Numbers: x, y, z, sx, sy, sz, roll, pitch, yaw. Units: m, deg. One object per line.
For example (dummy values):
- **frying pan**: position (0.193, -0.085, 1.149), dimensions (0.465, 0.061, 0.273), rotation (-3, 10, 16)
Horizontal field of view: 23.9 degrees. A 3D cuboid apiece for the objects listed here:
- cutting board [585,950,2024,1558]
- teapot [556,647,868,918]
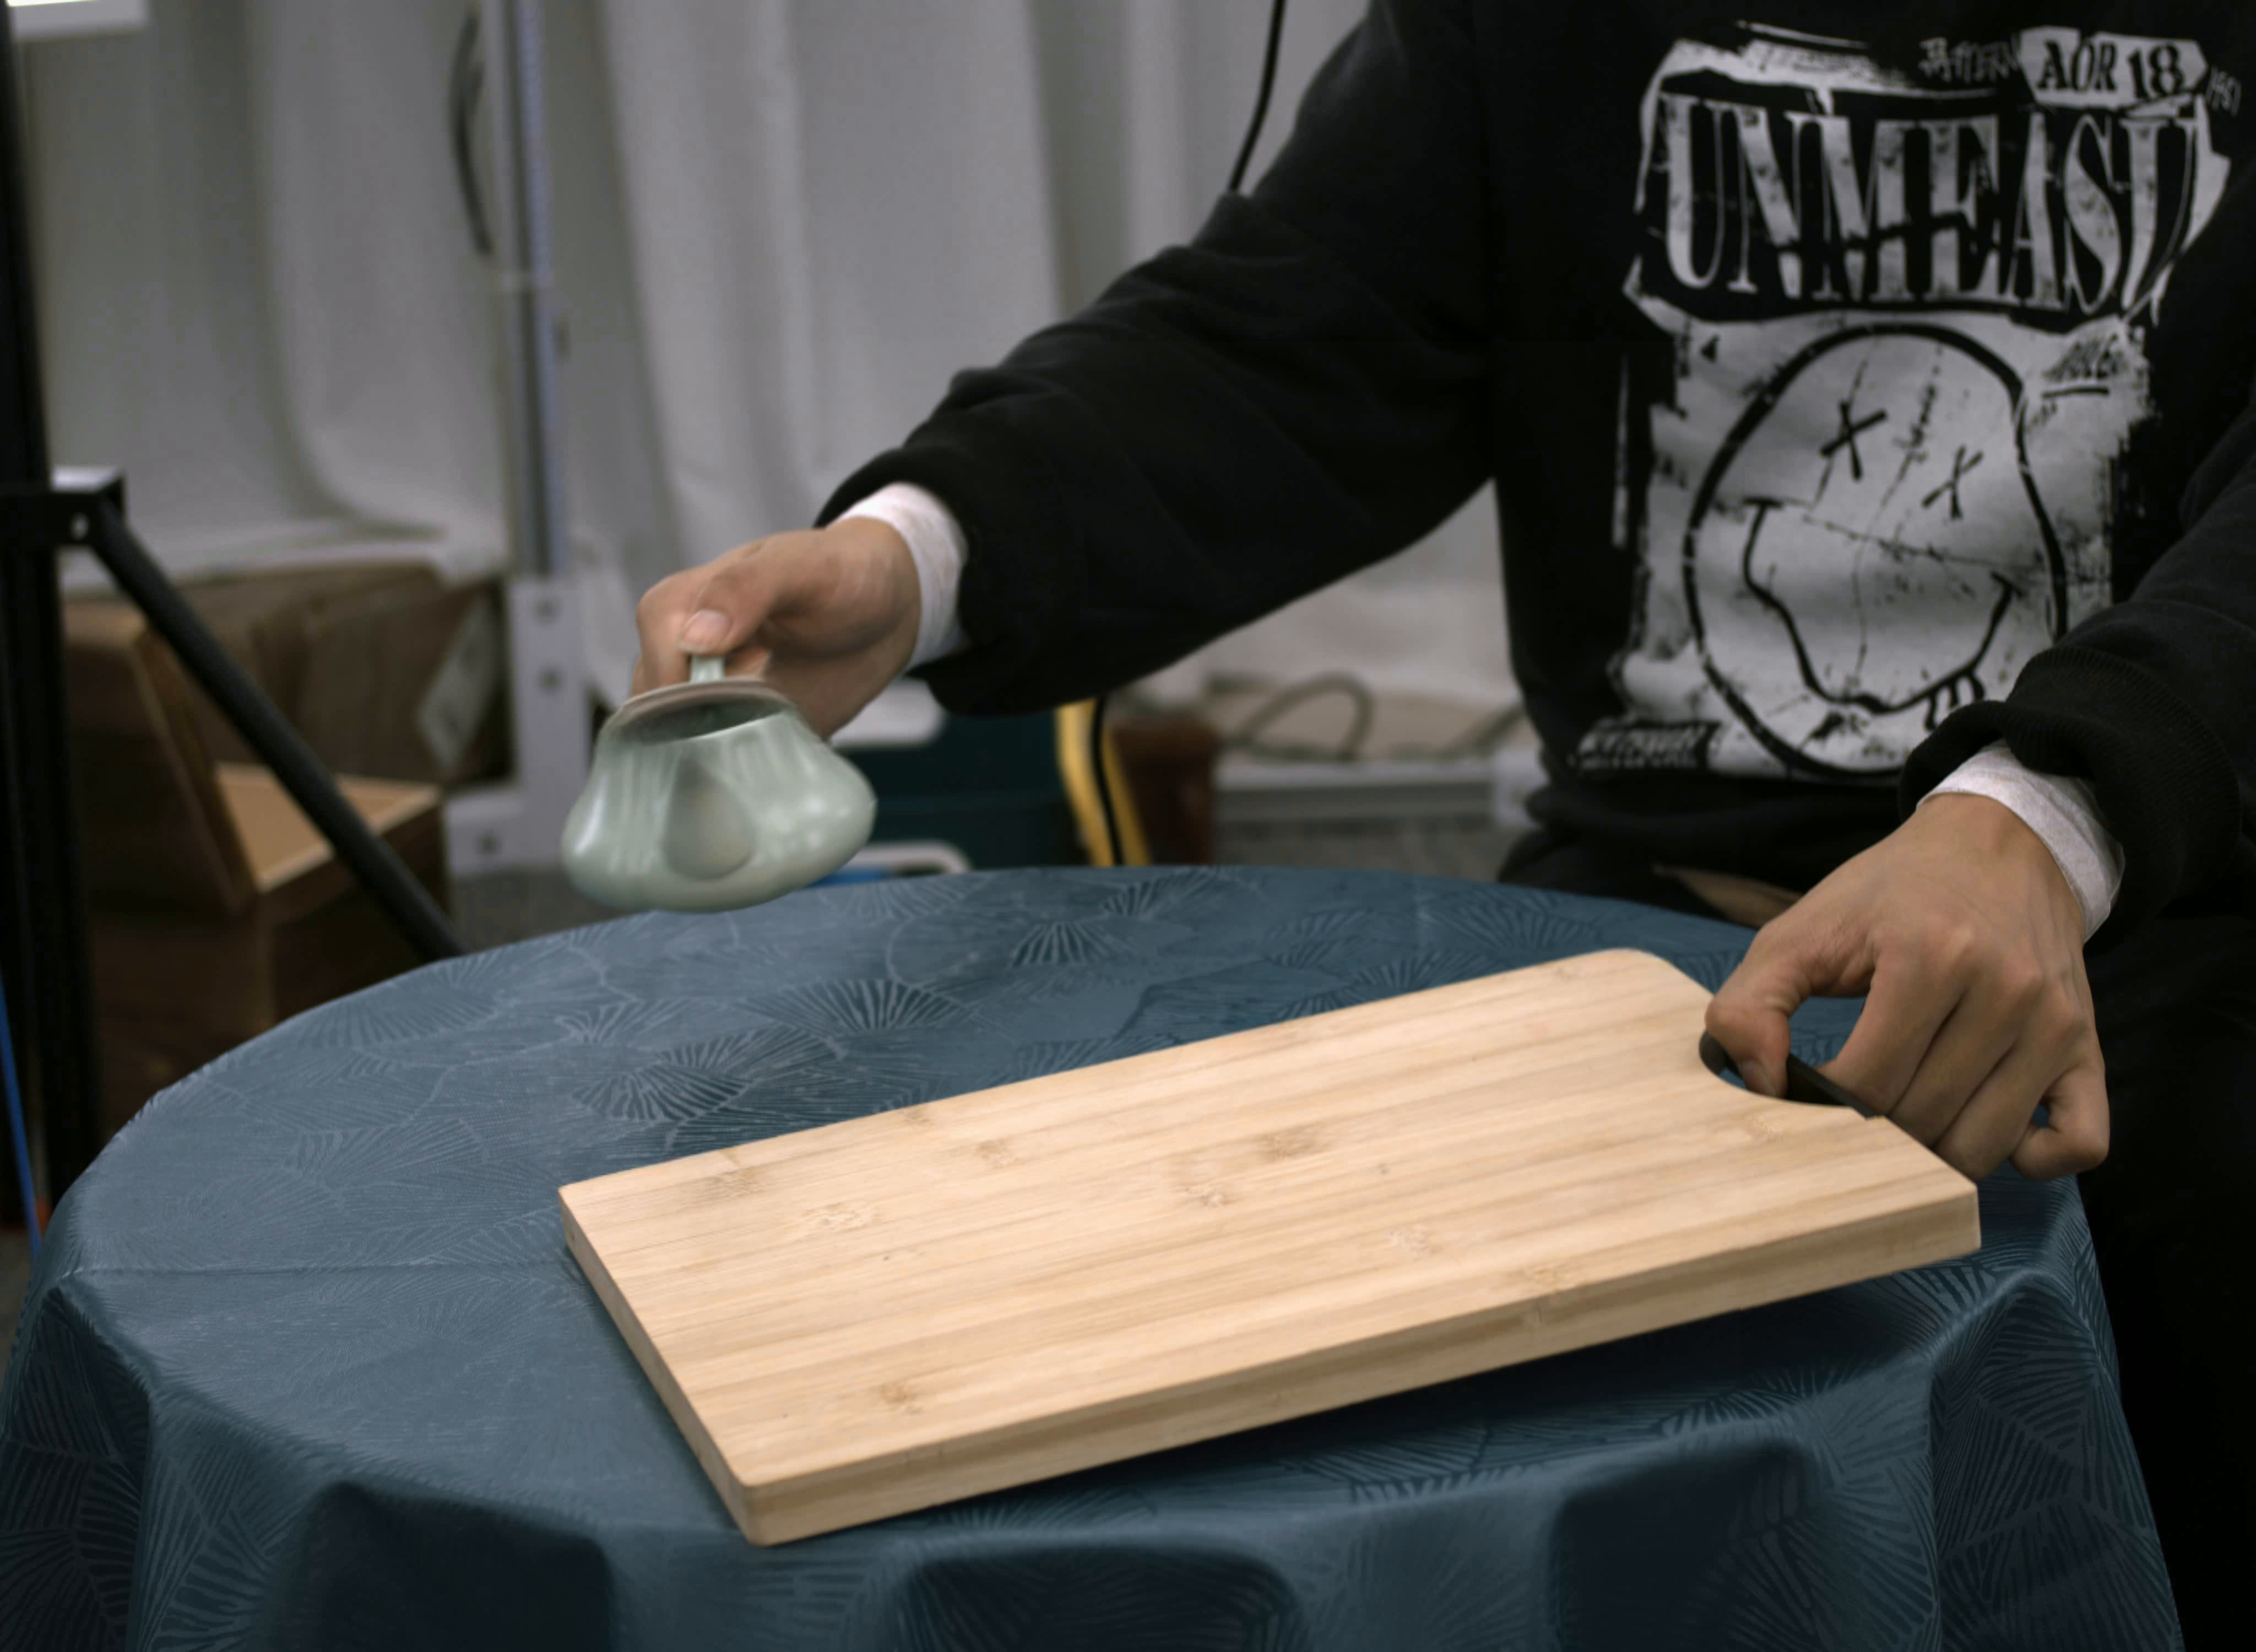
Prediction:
- **cutting board**: position (0.037, 0.109, 1.460), dimensions (0.344, 0.023, 0.255), rotation (-12, 18, -14)
- **teapot**: position (-0.128, -0.011, 1.620), dimensions (0.096, 0.061, 0.138), rotation (-10, 18, 1)
